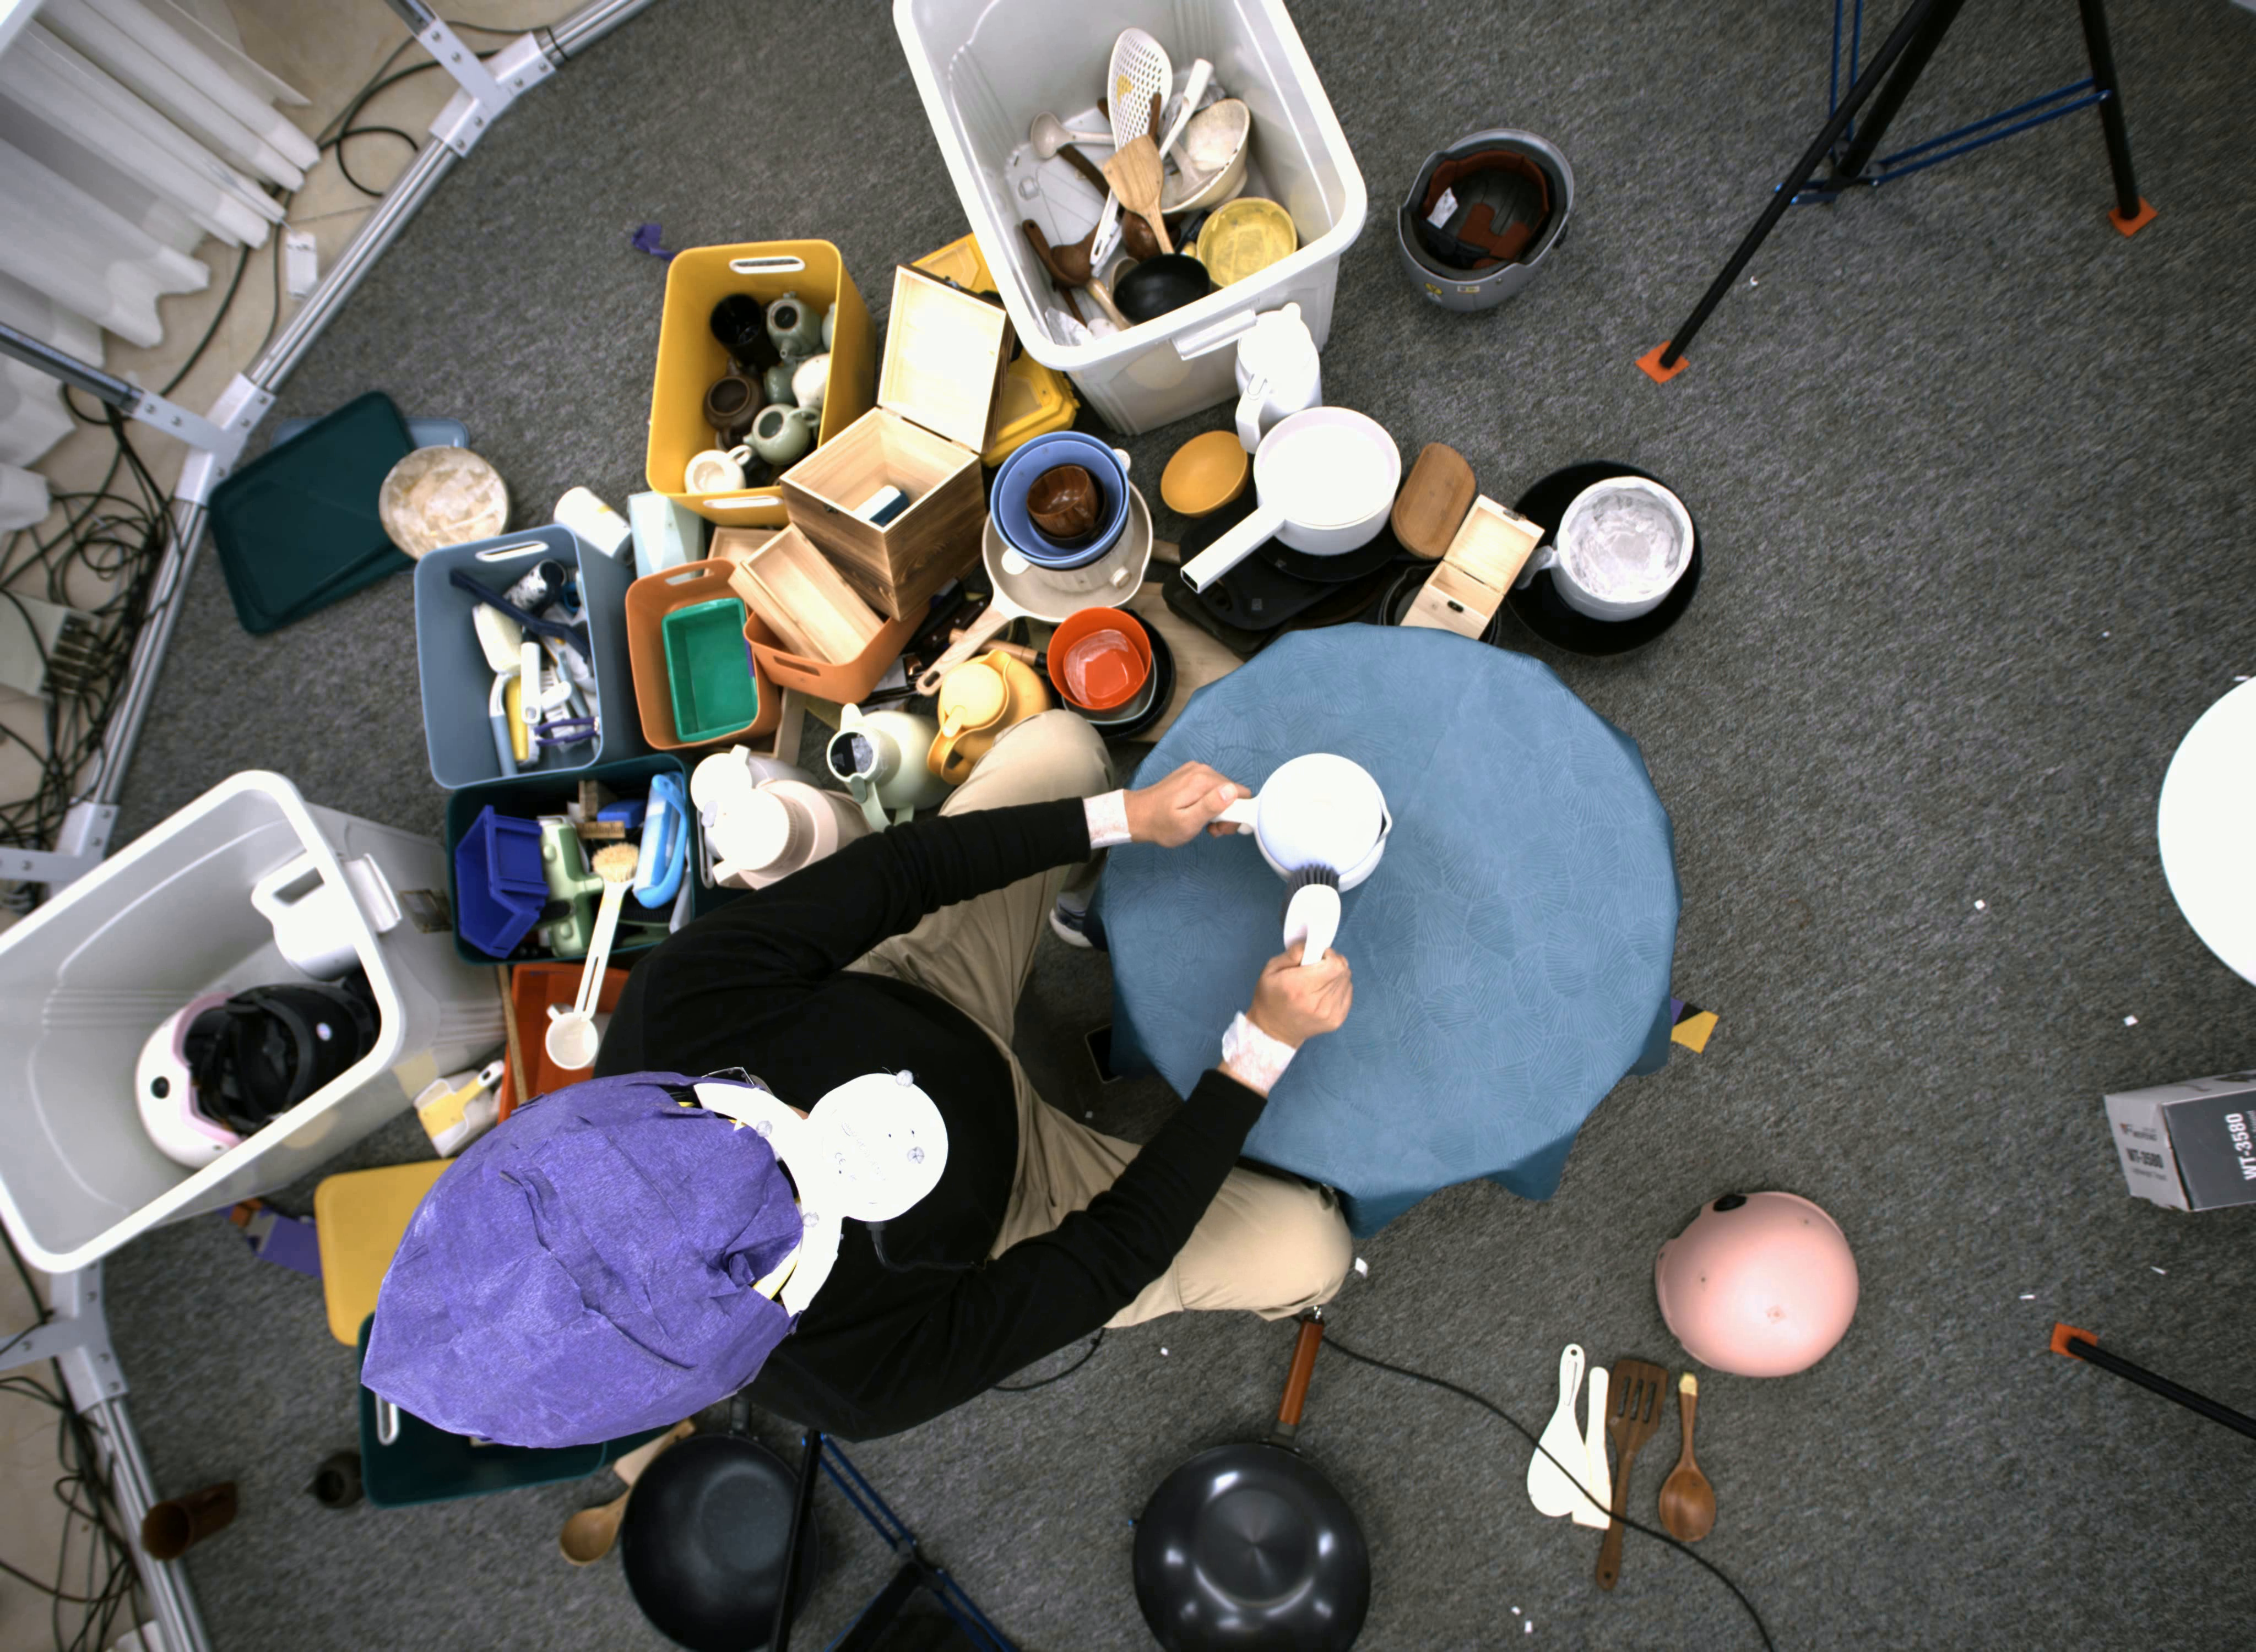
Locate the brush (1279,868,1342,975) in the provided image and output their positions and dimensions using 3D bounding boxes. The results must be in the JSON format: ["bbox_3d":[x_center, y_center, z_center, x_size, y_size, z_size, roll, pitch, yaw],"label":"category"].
[{"bbox_3d":[0.174,0.097,1.308,0.050,0.102,0.070,6,46,-5],"label":"brush"}]

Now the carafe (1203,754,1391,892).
[{"bbox_3d":[0.170,-0.003,1.396,0.192,0.183,0.131,5,86,12],"label":"carafe"}]
